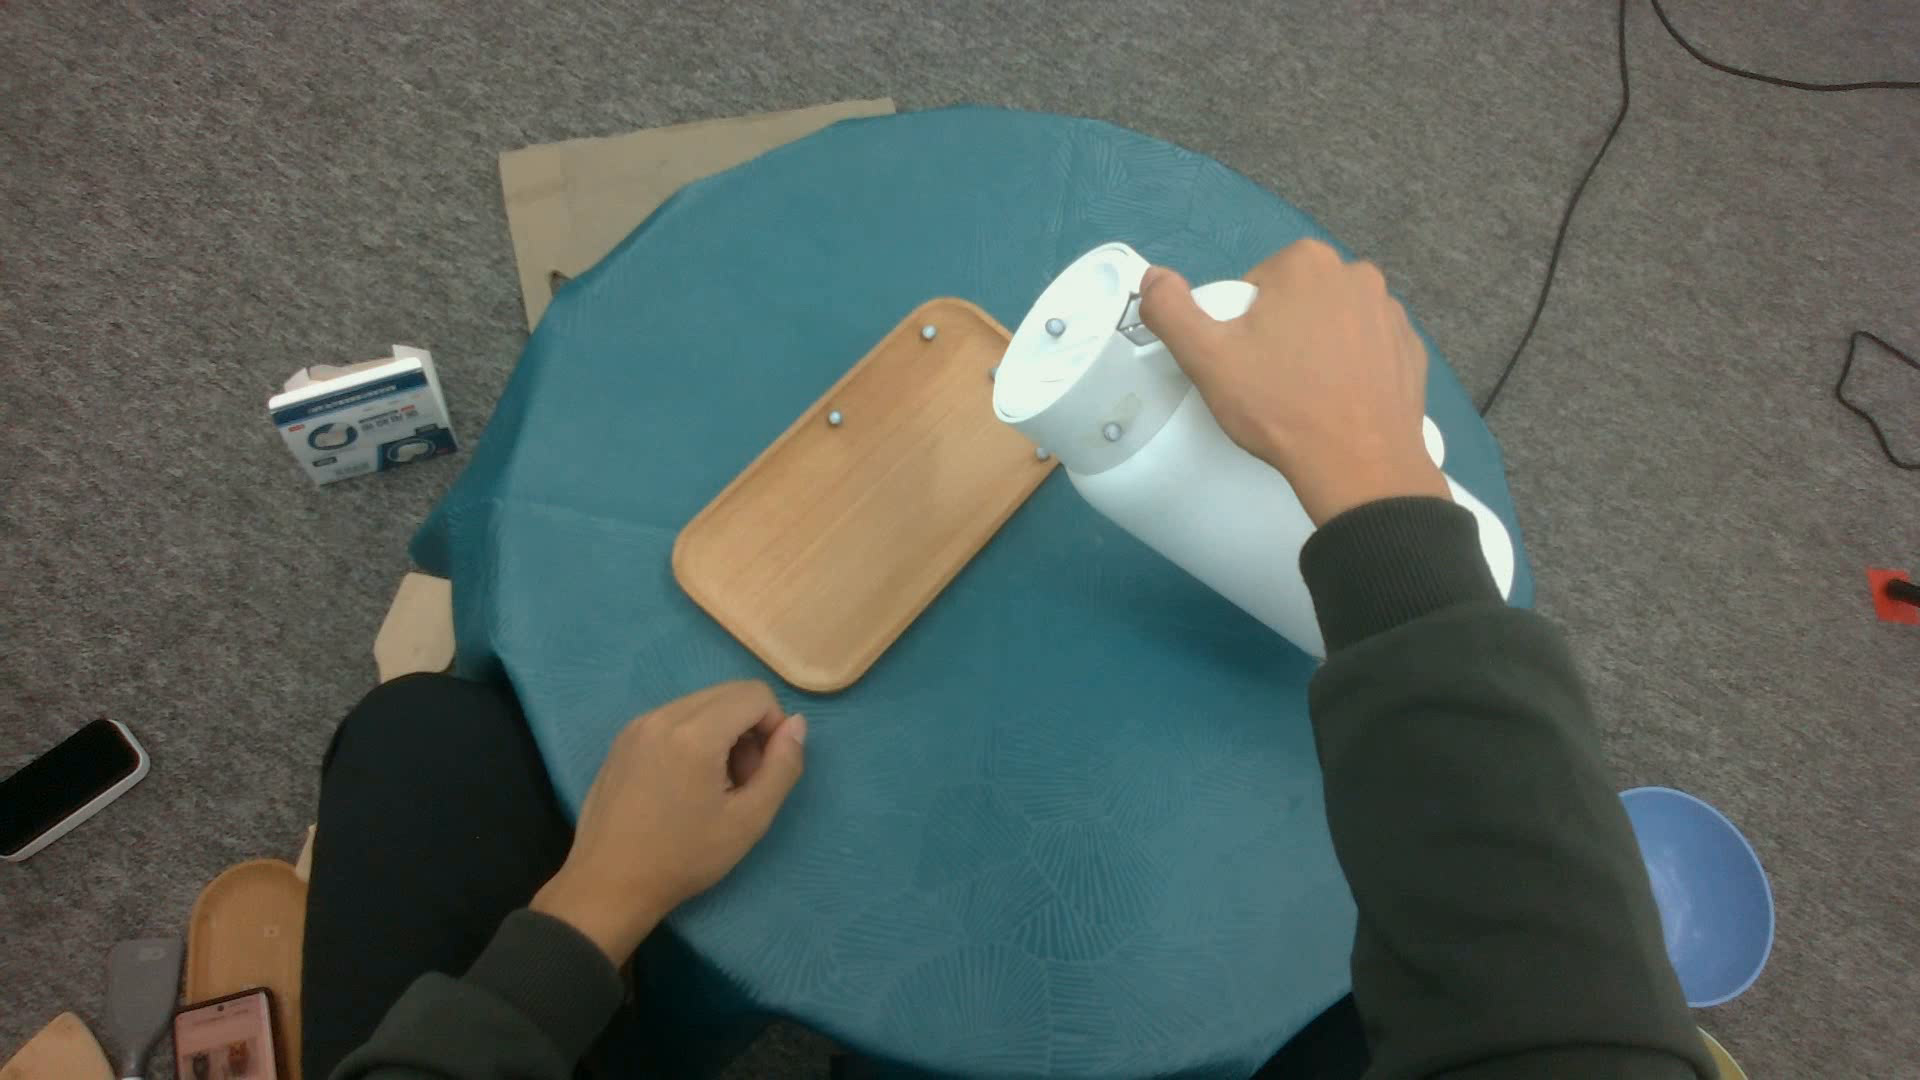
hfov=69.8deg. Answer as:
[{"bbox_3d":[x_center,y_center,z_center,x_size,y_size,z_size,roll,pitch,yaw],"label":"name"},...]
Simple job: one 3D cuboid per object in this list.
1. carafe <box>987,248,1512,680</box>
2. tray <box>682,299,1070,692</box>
[{"bbox_3d":[0.160,-0.038,0.687,0.269,0.172,0.124,33,67,-23],"label":"carafe"},{"bbox_3d":[-0.037,-0.031,0.796,0.130,0.023,0.251,40,69,11],"label":"tray"}]
